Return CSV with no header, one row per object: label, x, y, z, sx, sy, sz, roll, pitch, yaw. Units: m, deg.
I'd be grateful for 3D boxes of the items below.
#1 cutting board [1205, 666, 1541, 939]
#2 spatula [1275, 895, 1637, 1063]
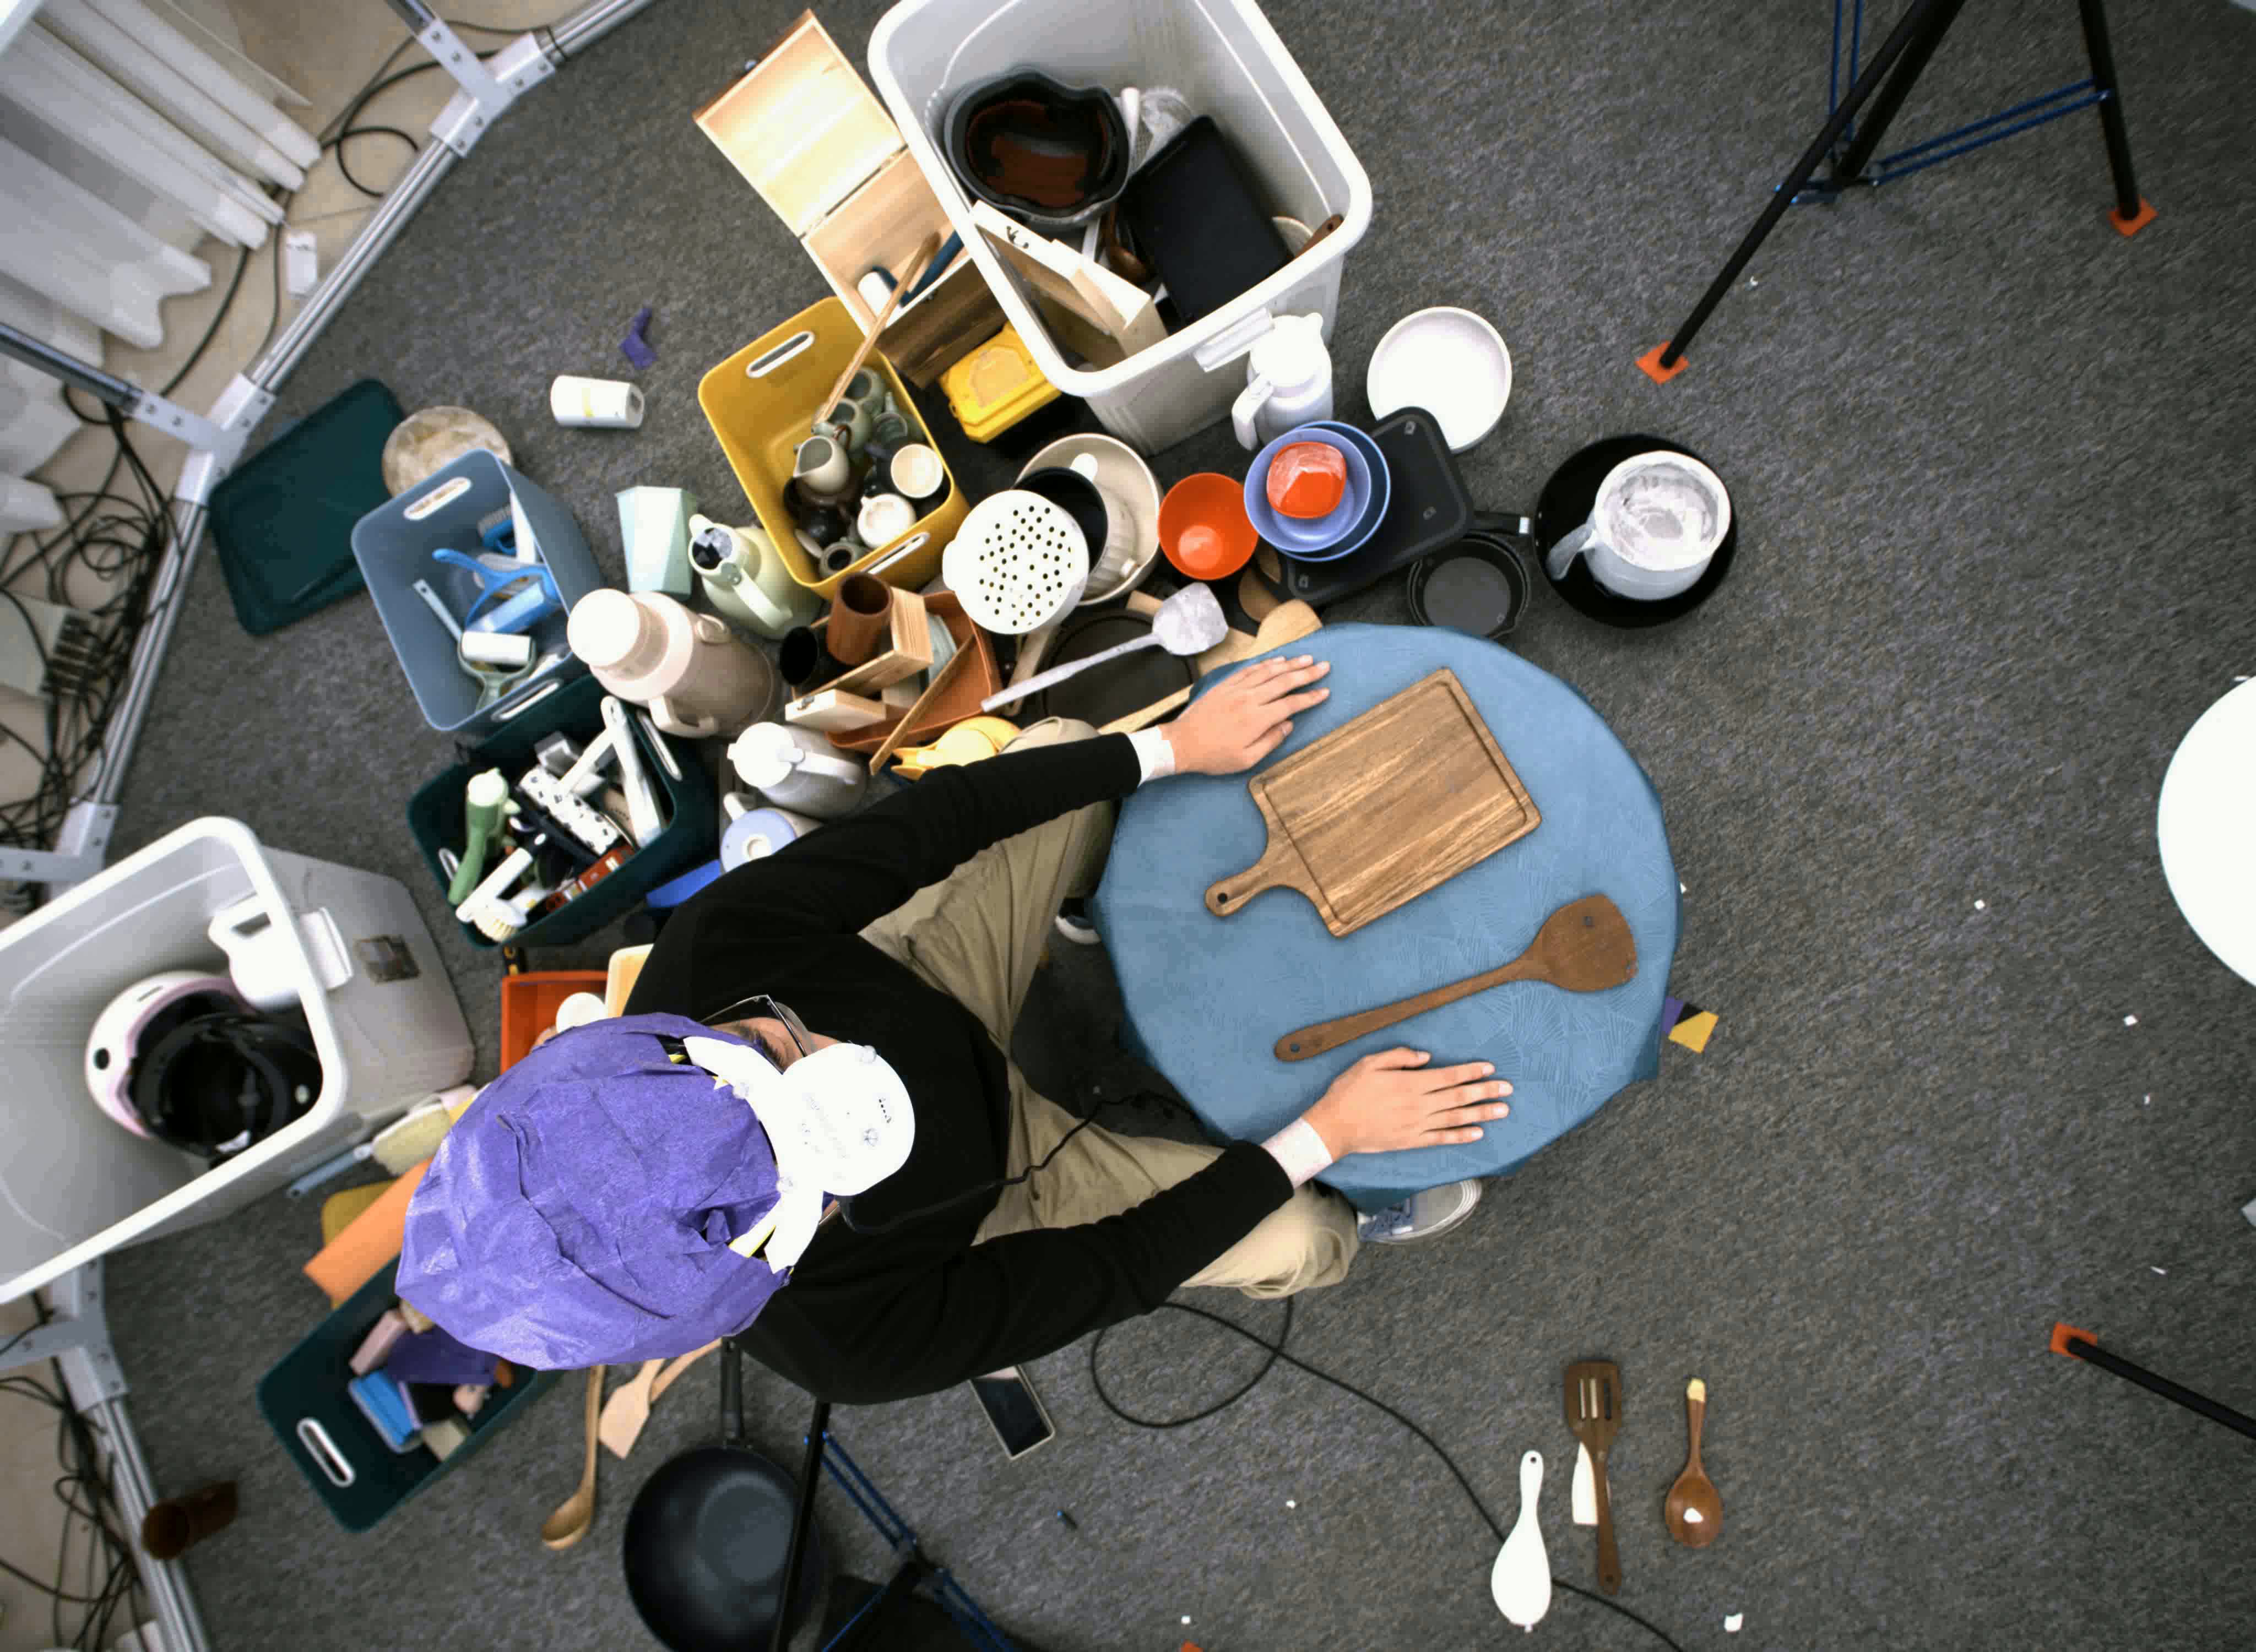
cutting board,0.235,-0.002,1.460,0.354,0.023,0.200,-31,82,8
spatula,0.335,0.173,1.435,0.388,0.016,0.095,-21,83,9
